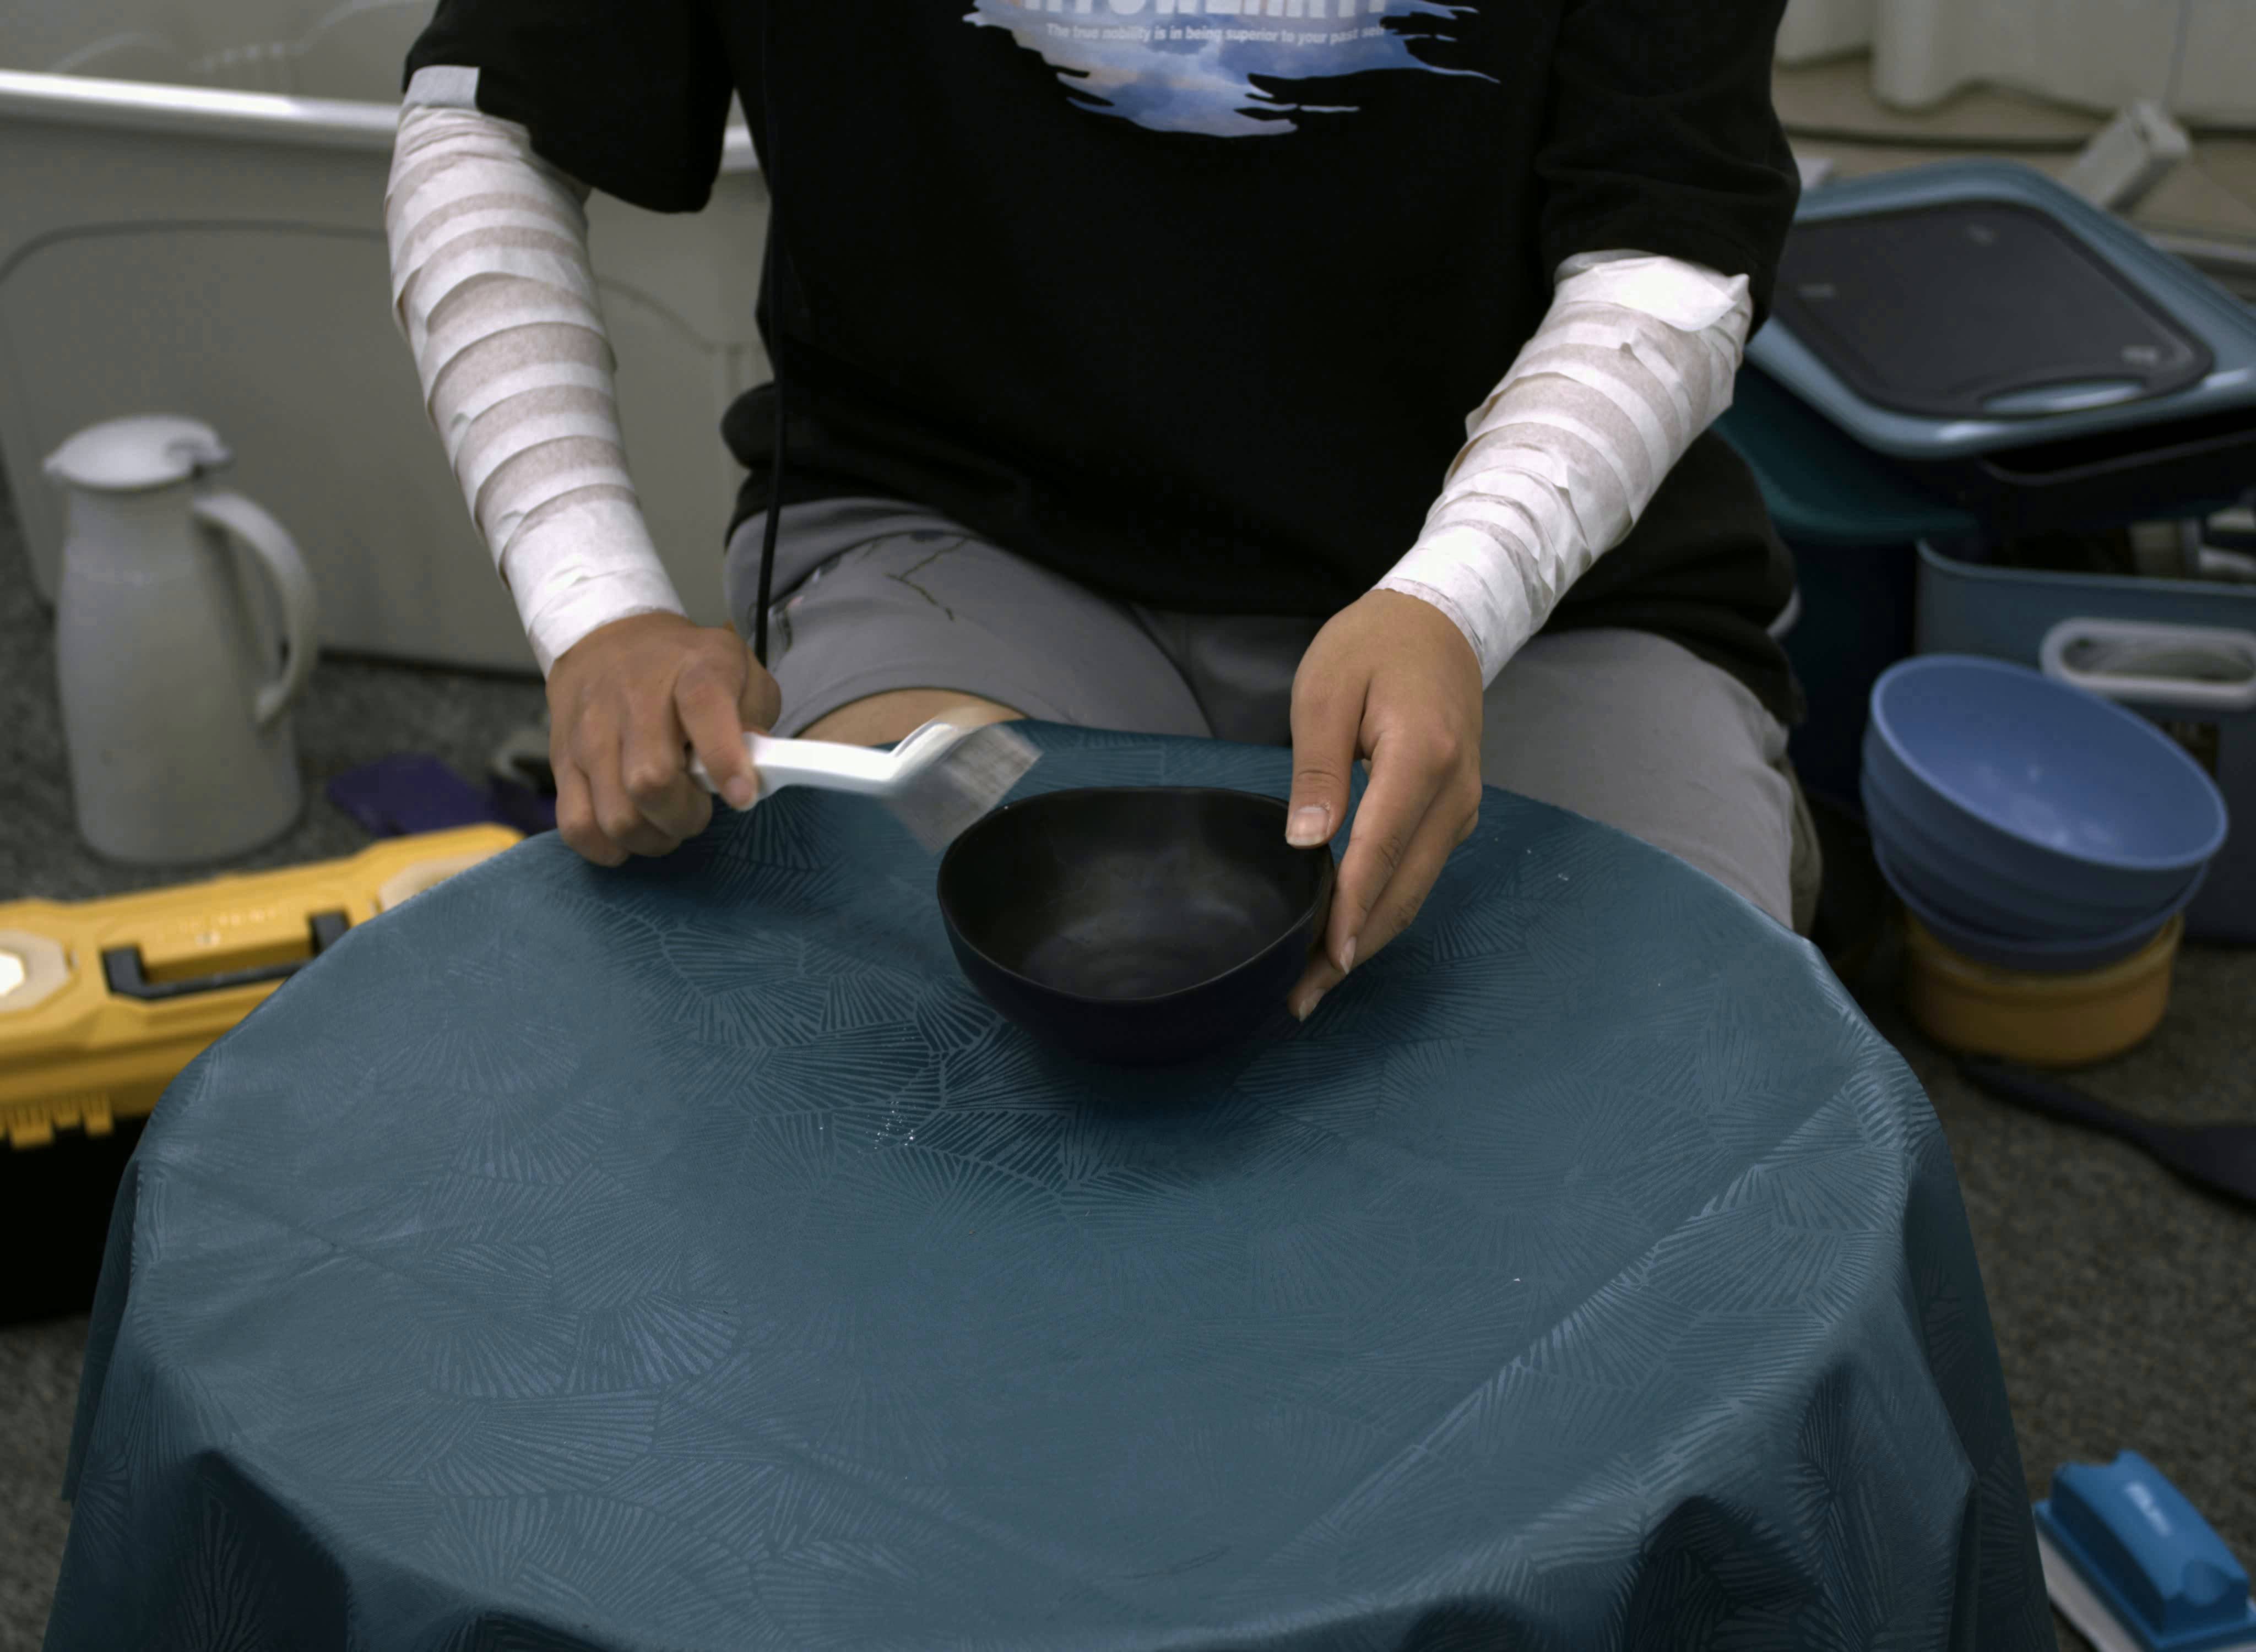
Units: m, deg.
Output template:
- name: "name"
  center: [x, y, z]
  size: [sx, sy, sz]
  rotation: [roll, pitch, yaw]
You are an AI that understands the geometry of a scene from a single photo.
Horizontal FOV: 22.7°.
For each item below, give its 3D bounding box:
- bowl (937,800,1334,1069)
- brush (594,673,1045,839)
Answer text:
- name: "bowl"
  center: [0.004, 0.041, 1.948]
  size: [0.136, 0.066, 0.173]
  rotation: [0, 25, 6]
- name: "brush"
  center: [-0.111, -0.013, 2.023]
  size: [0.241, 0.050, 0.035]
  rotation: [-11, 35, 52]
